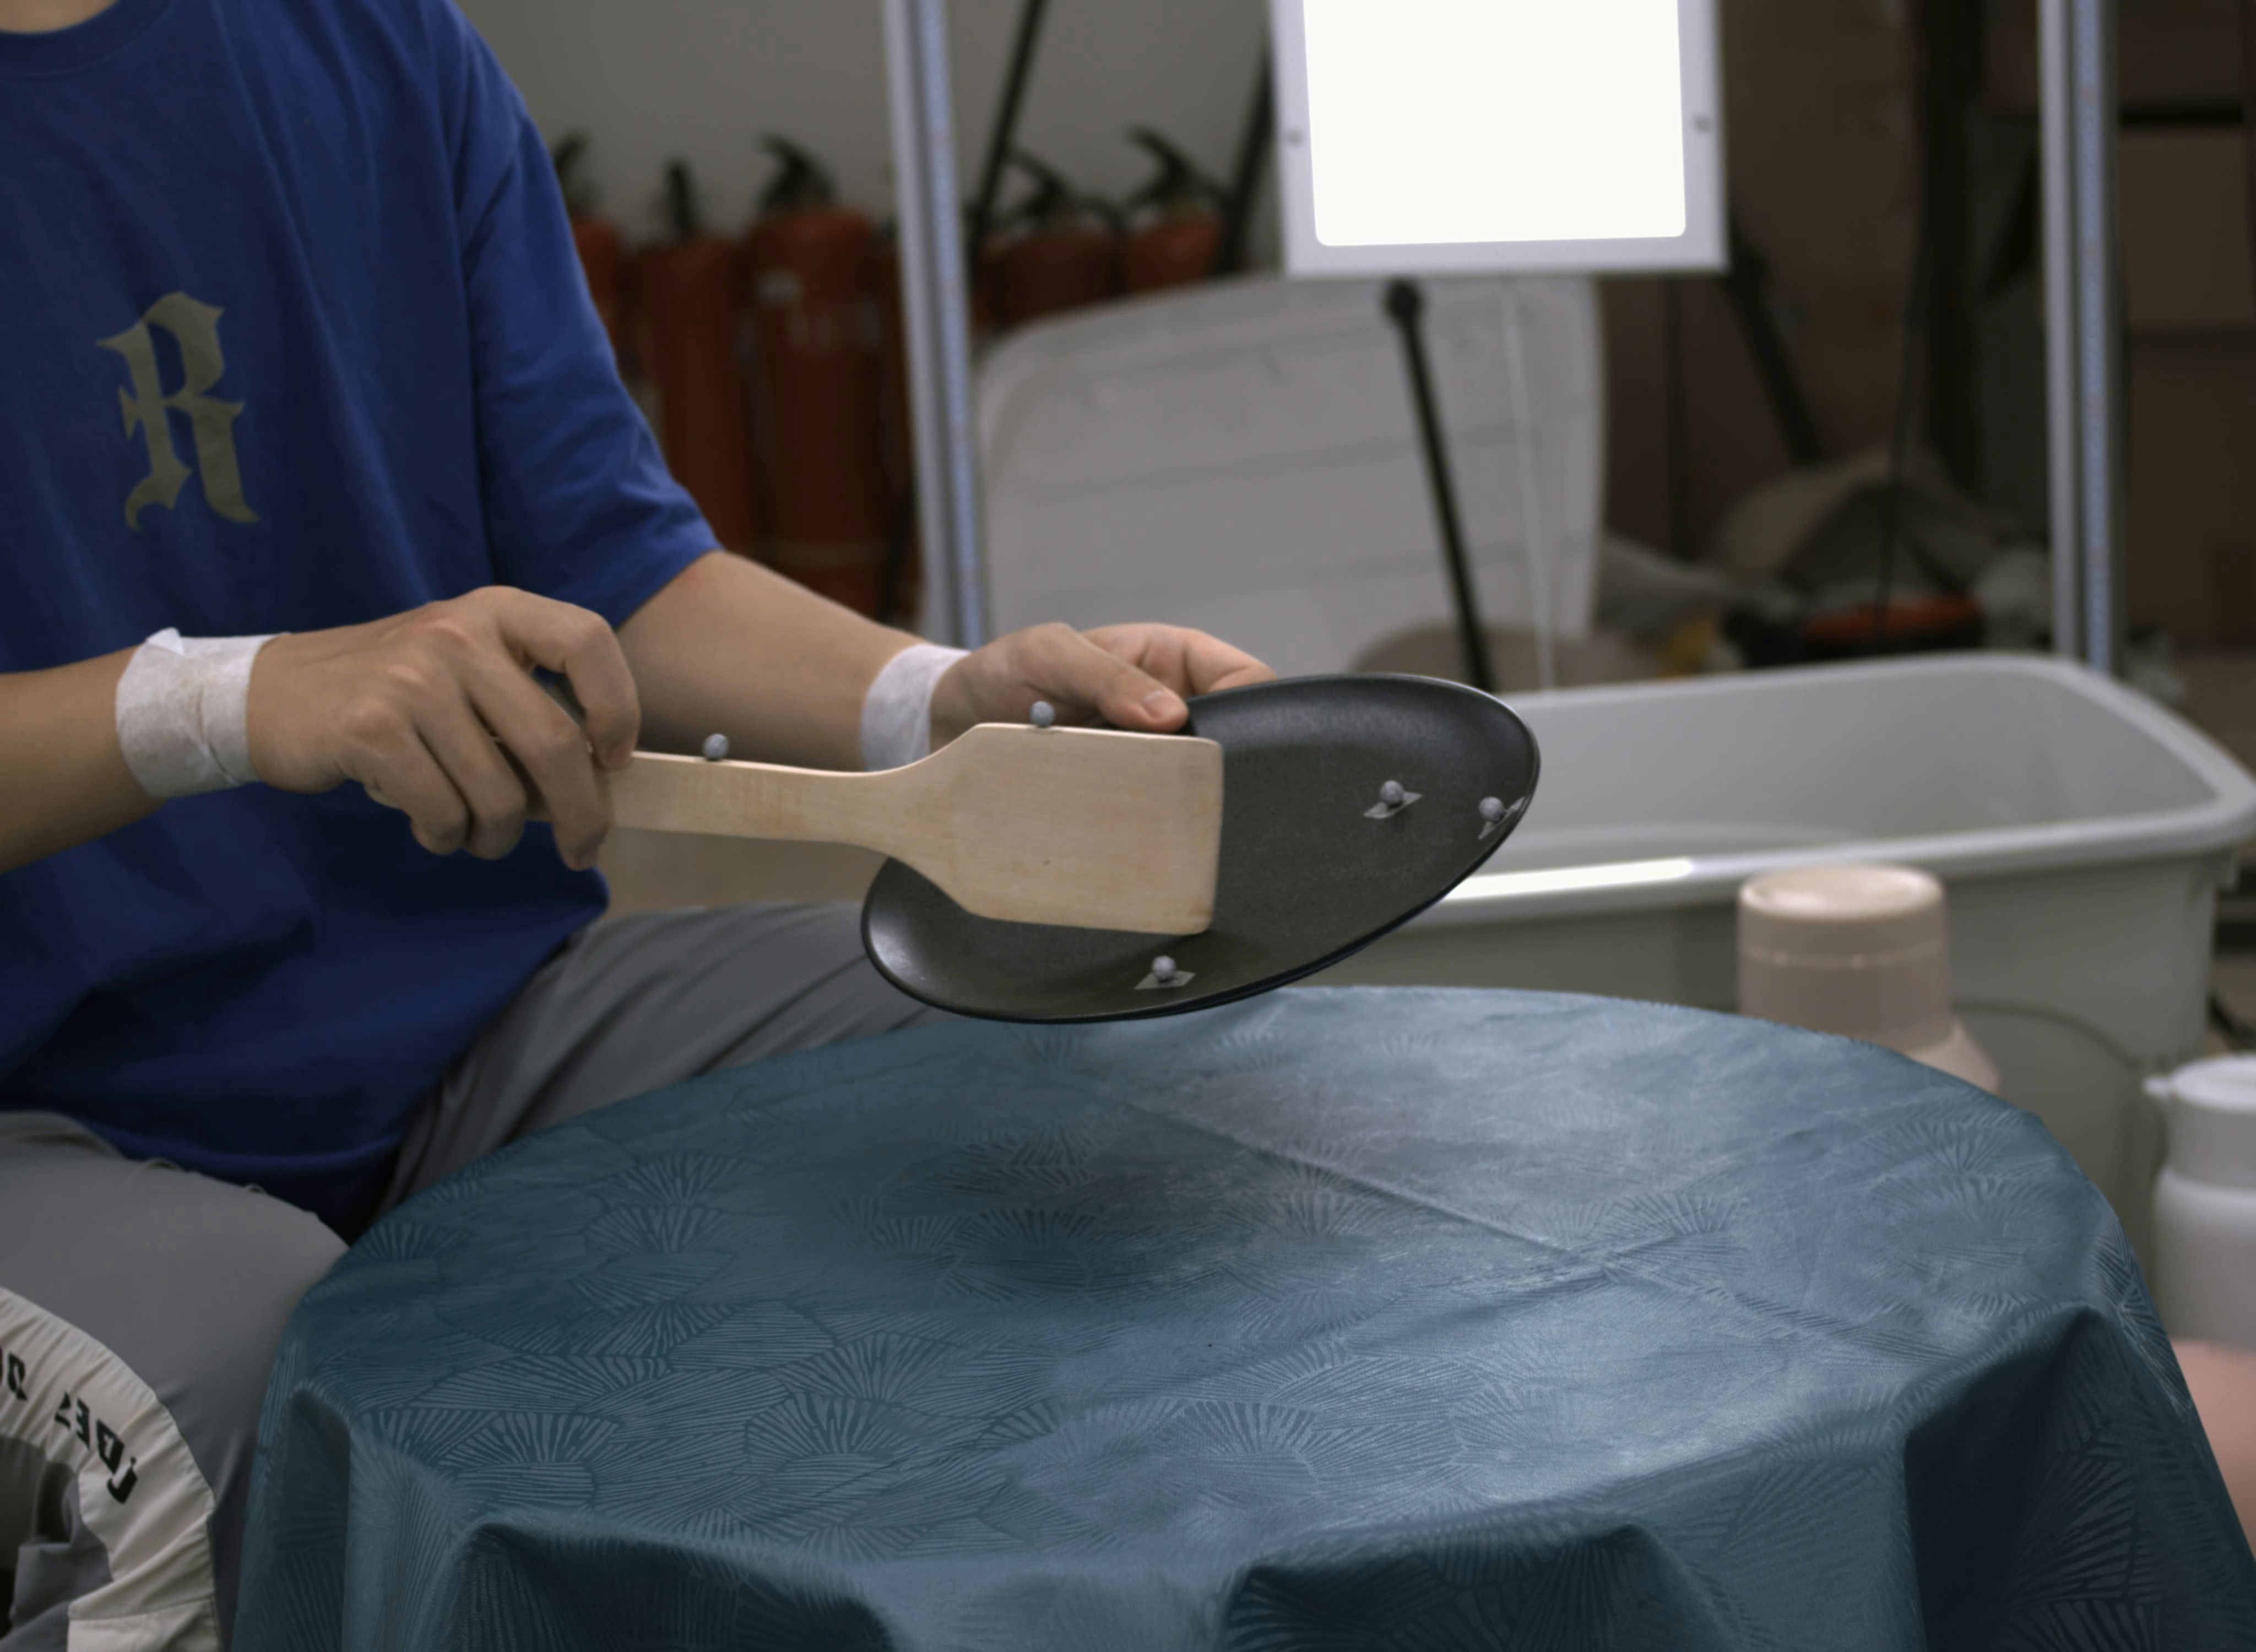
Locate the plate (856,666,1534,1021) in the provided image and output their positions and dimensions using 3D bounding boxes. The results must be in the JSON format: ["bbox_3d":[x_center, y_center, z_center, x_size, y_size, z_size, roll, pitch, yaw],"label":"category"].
[{"bbox_3d":[0.025,0.011,1.899,0.245,0.023,0.244,-16,24,6],"label":"plate"}]

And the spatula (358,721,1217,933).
[{"bbox_3d":[-0.116,-0.009,1.857,0.293,0.073,0.010,5,20,6],"label":"spatula"}]
